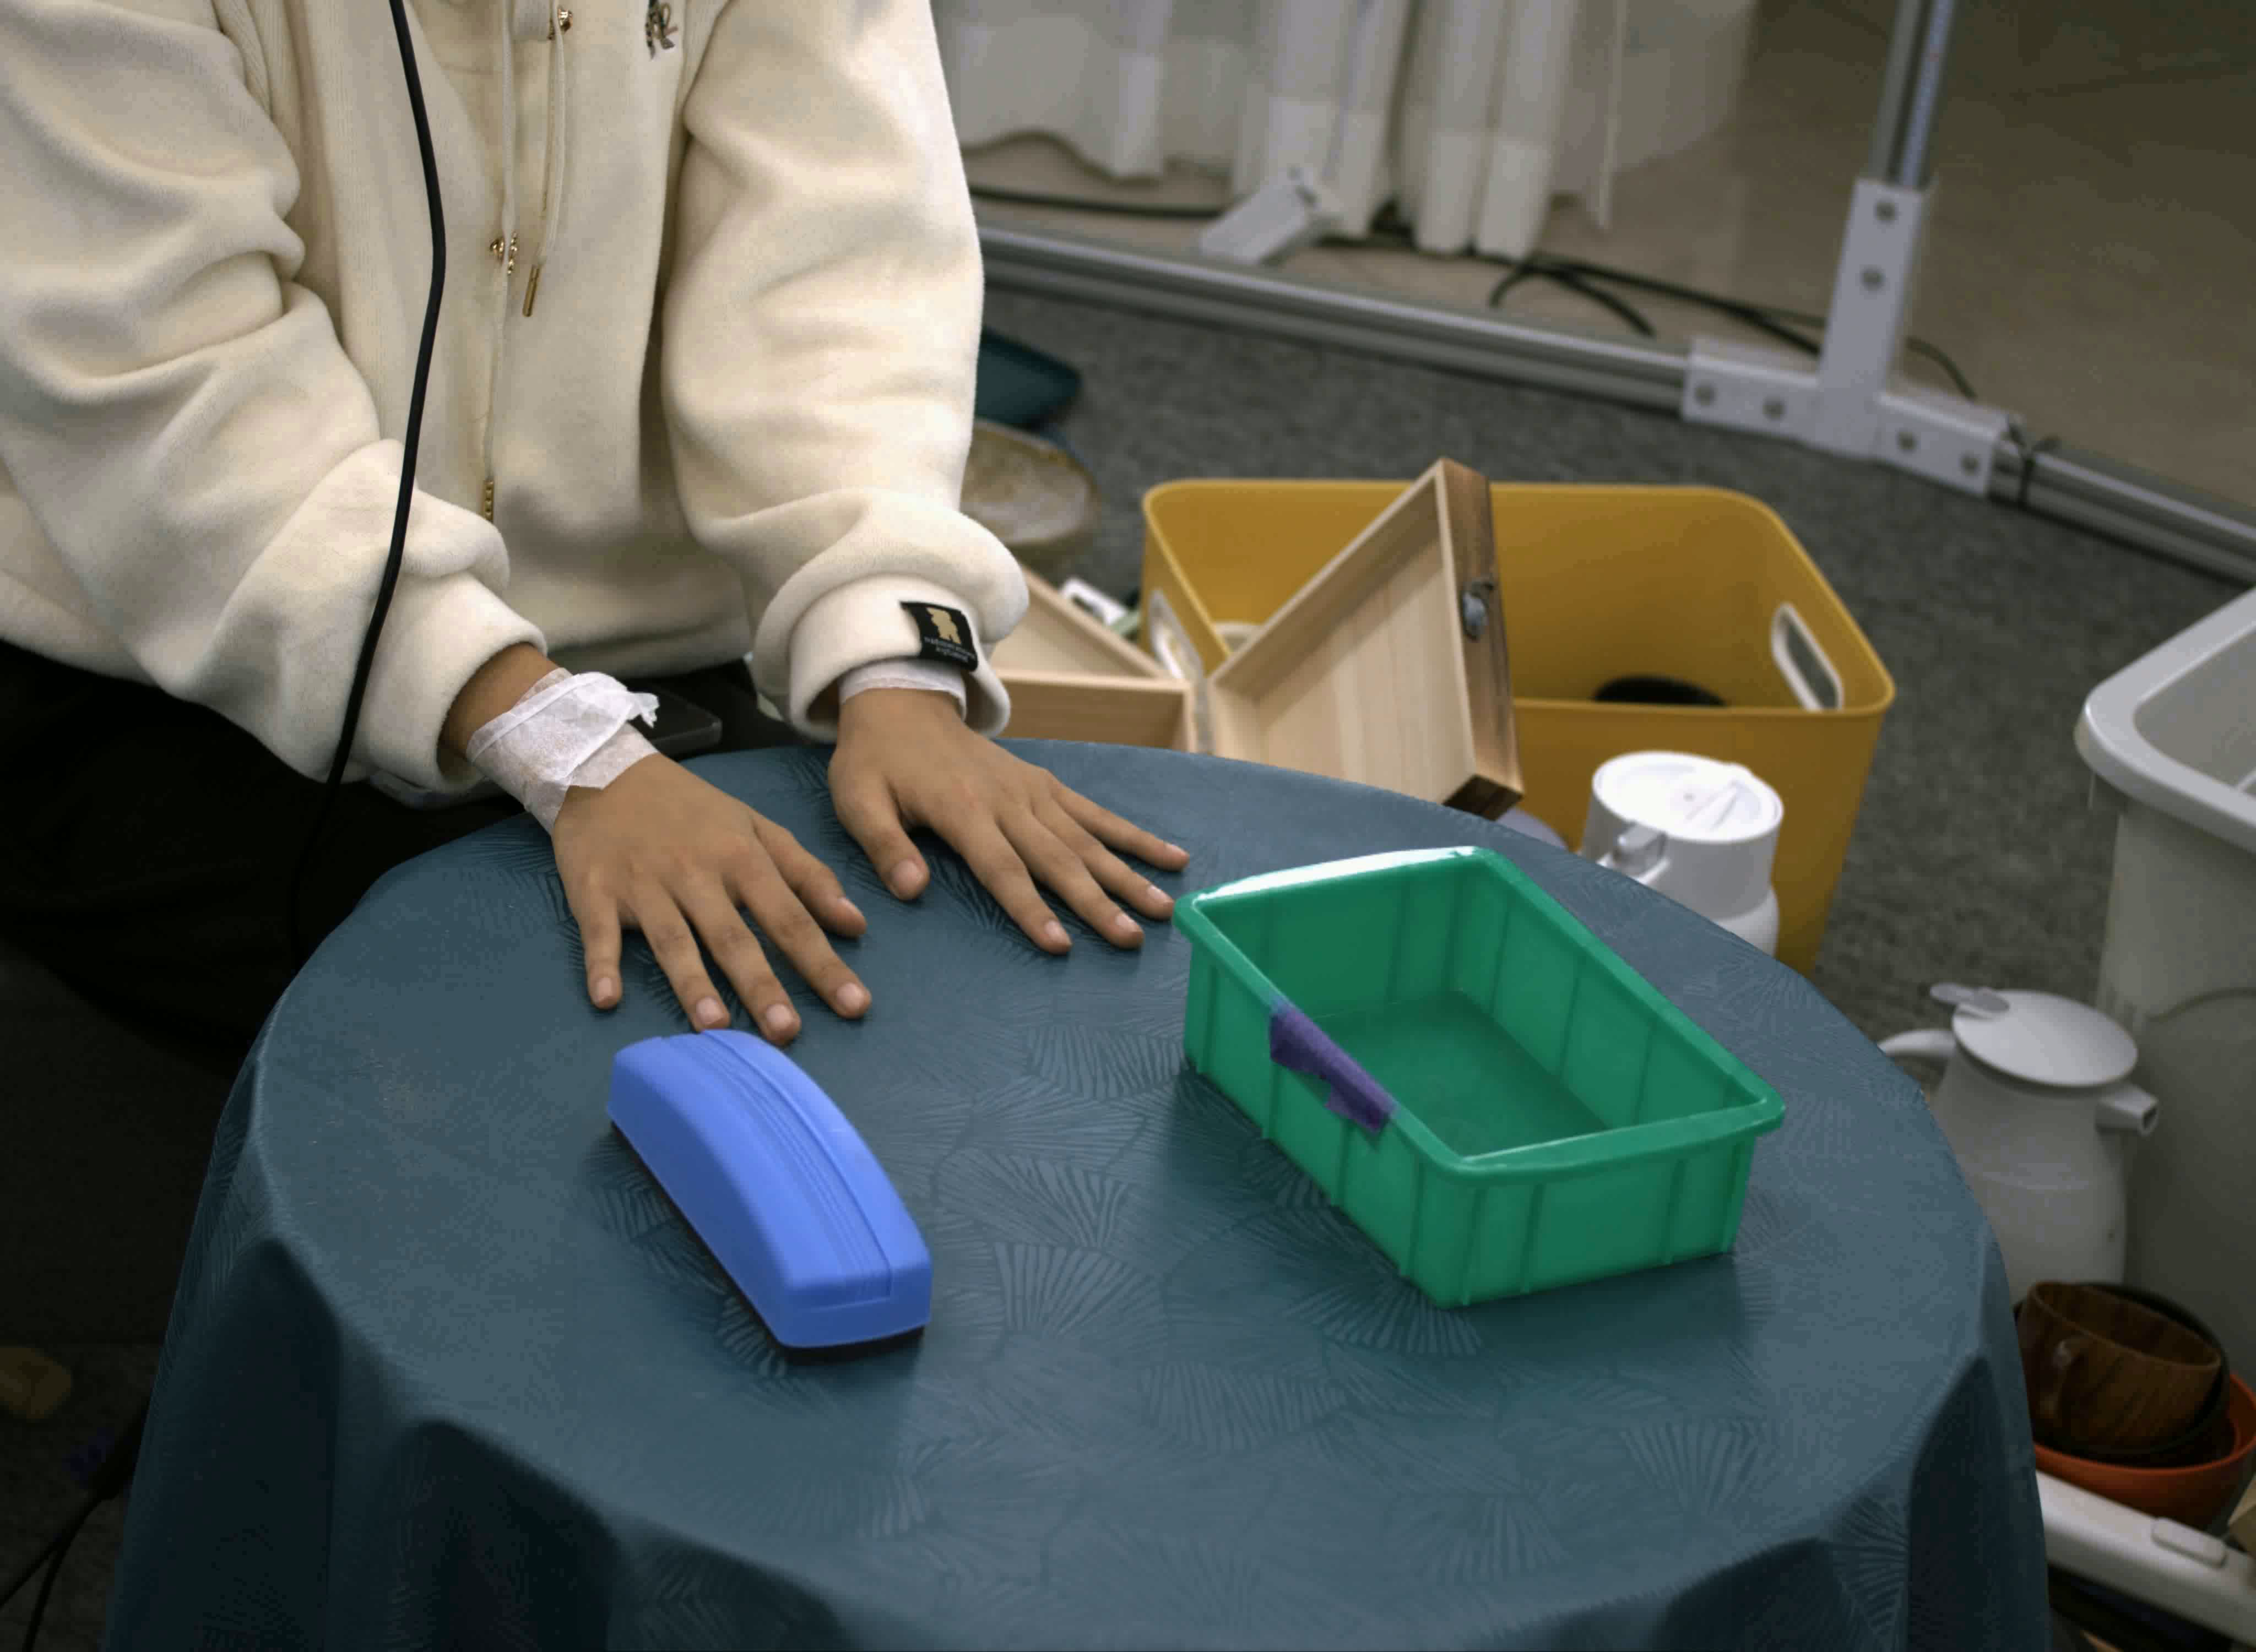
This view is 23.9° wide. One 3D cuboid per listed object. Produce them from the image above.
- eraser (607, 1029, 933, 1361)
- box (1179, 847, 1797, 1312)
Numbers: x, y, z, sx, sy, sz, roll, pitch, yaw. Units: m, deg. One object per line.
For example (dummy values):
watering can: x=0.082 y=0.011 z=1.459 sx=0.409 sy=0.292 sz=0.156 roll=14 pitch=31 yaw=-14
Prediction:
eraser: x=-0.118 y=0.114 z=1.743 sx=0.053 sy=0.047 sz=0.164 roll=-7 pitch=30 yaw=-26
box: x=0.118 y=0.087 z=1.833 sx=0.138 sy=0.065 sz=0.212 roll=-11 pitch=32 yaw=-27
